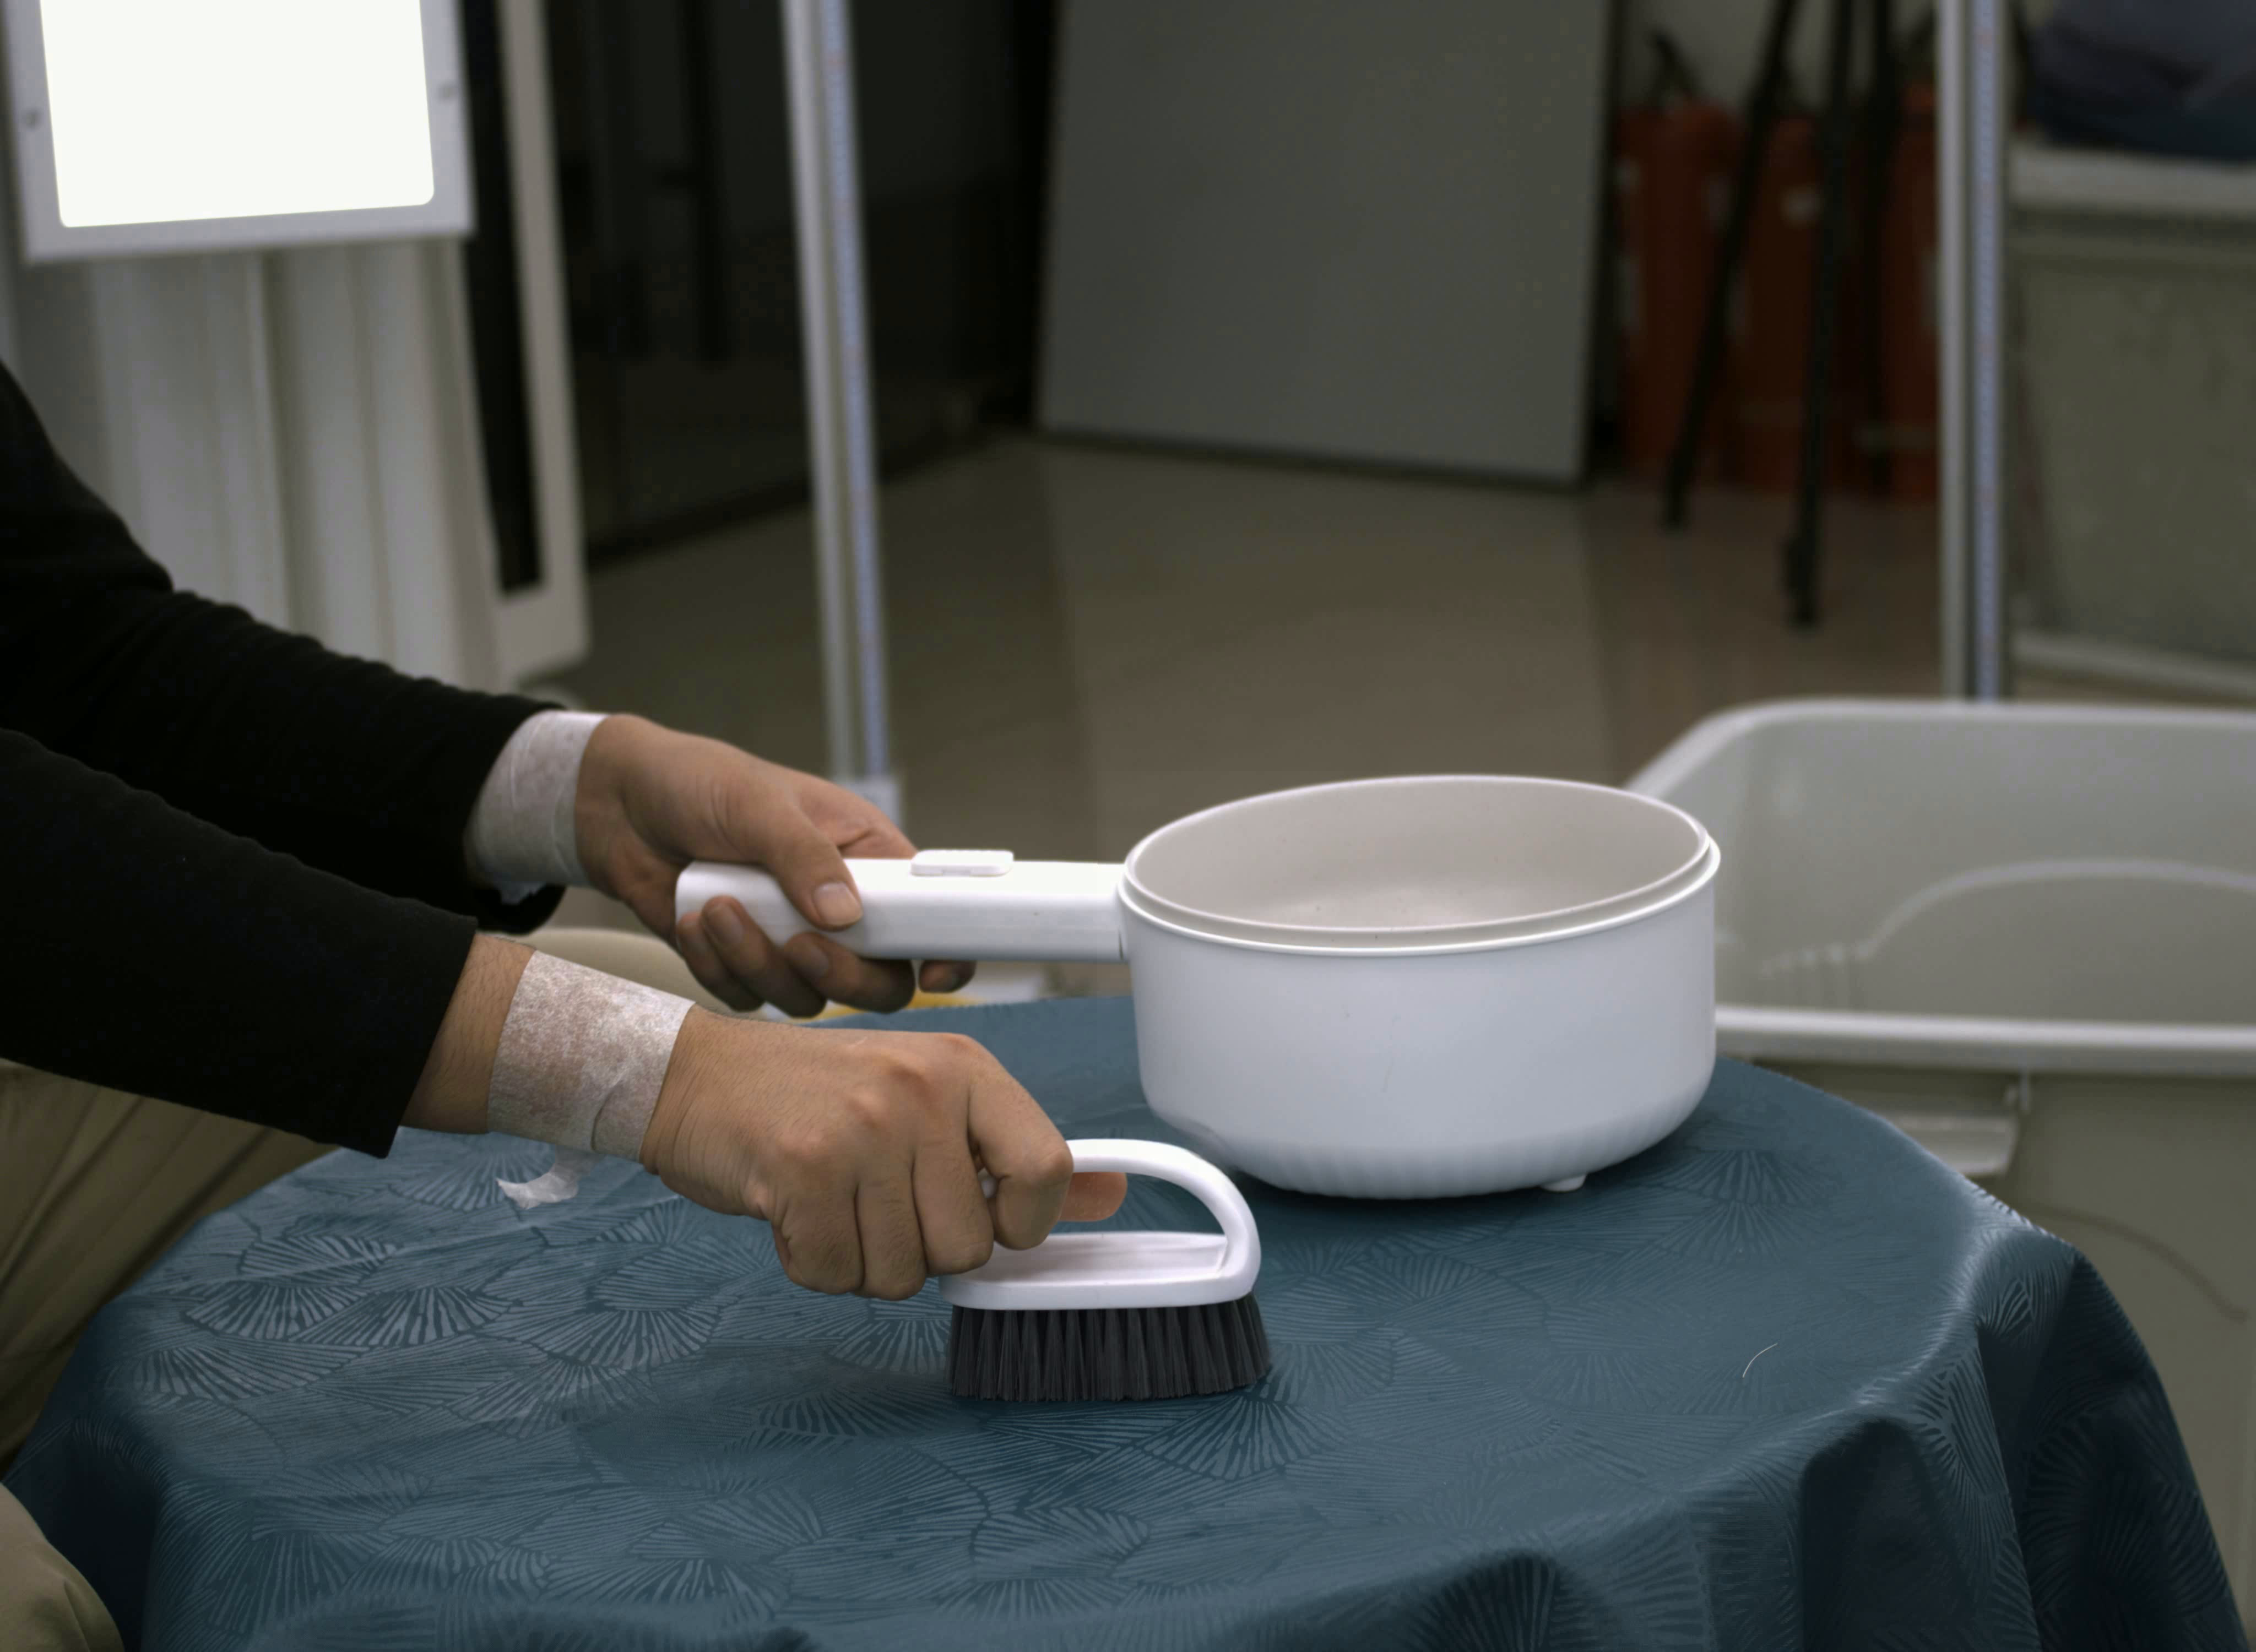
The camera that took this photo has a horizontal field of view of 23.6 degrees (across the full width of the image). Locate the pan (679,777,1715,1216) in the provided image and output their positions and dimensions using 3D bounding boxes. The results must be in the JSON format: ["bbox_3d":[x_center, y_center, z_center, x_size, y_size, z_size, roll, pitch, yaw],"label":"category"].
[{"bbox_3d":[0.024,0.060,1.813,0.353,0.103,0.200,-1,16,14],"label":"pan"}]

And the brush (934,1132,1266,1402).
[{"bbox_3d":[-0.009,0.127,1.592,0.098,0.073,0.050,-2,16,10],"label":"brush"}]
